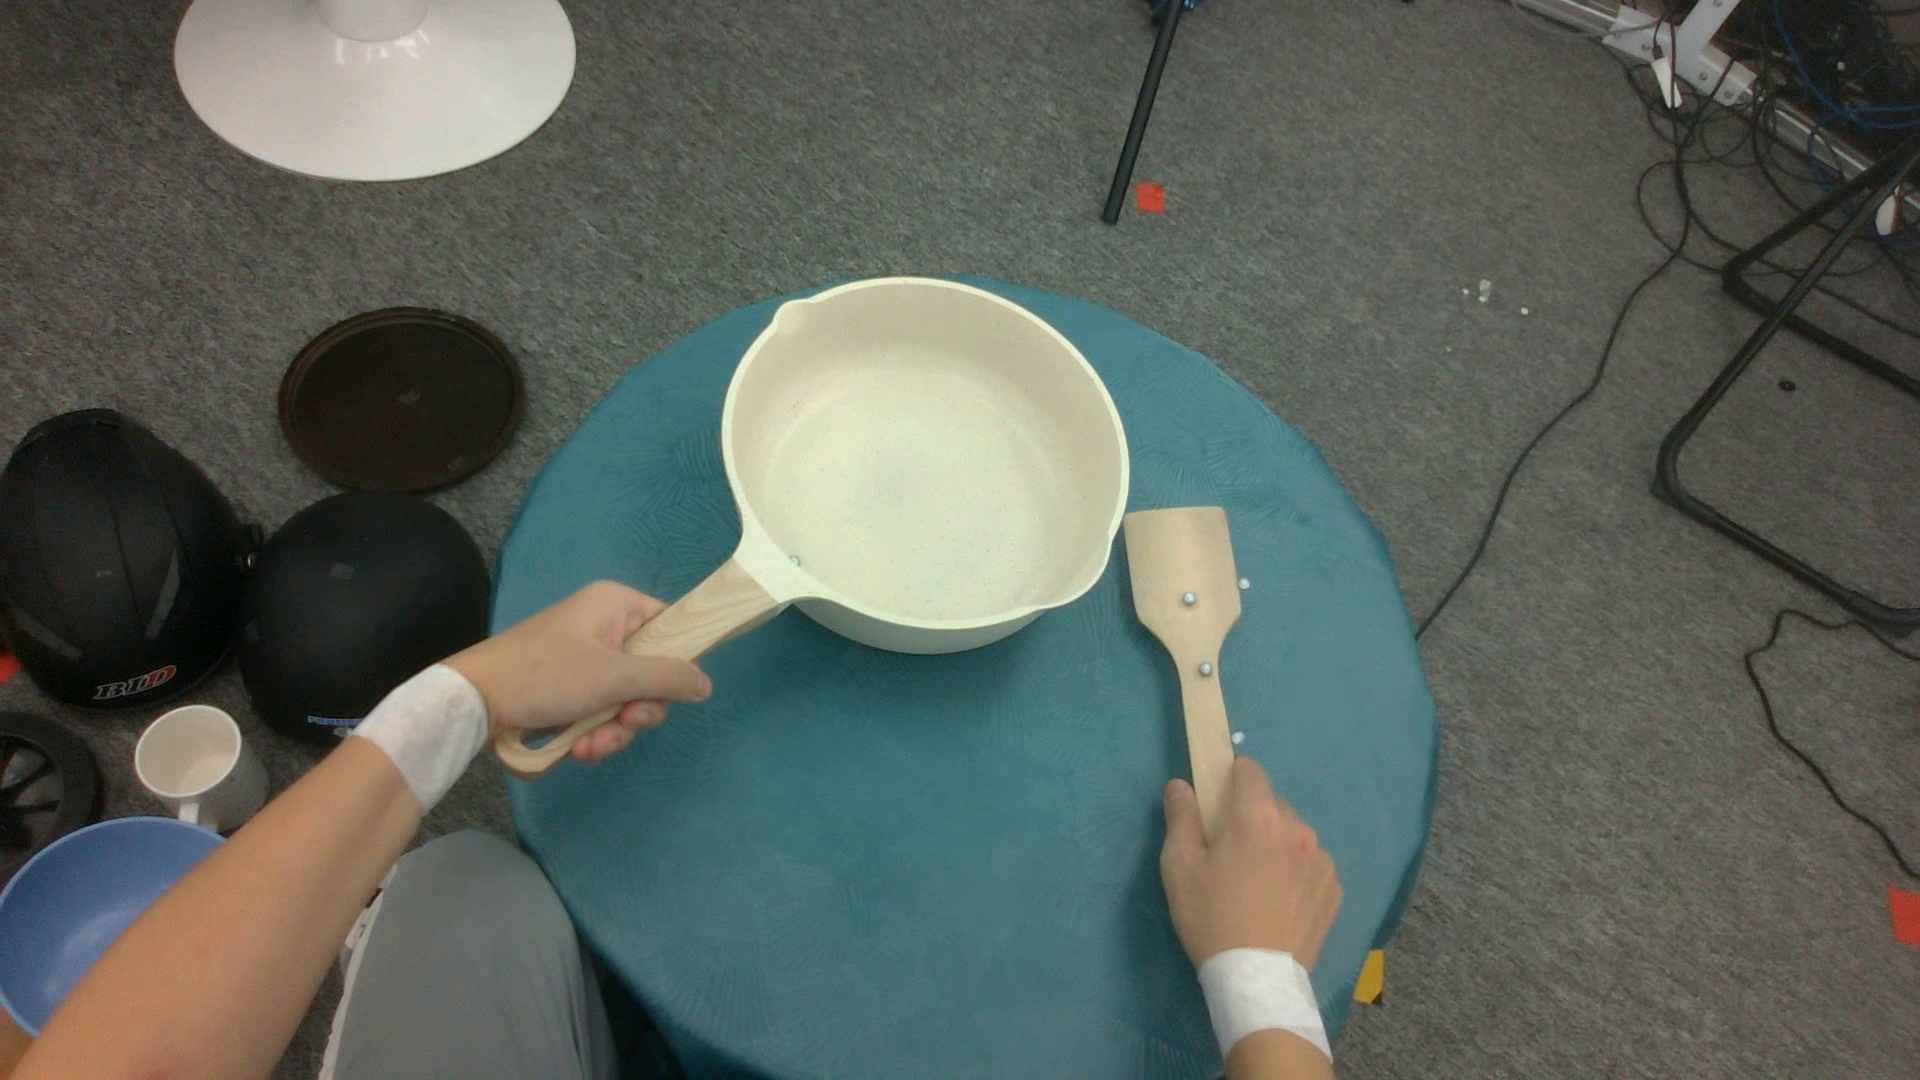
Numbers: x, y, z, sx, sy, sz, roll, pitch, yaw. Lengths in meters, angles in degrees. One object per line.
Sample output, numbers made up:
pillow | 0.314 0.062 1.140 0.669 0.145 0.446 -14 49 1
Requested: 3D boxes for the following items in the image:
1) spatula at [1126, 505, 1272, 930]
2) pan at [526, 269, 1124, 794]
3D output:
spatula | 0.157 0.099 0.860 0.072 0.010 0.294 -5 55 1
pan | -0.085 0.005 0.833 0.263 0.101 0.437 41 62 10
